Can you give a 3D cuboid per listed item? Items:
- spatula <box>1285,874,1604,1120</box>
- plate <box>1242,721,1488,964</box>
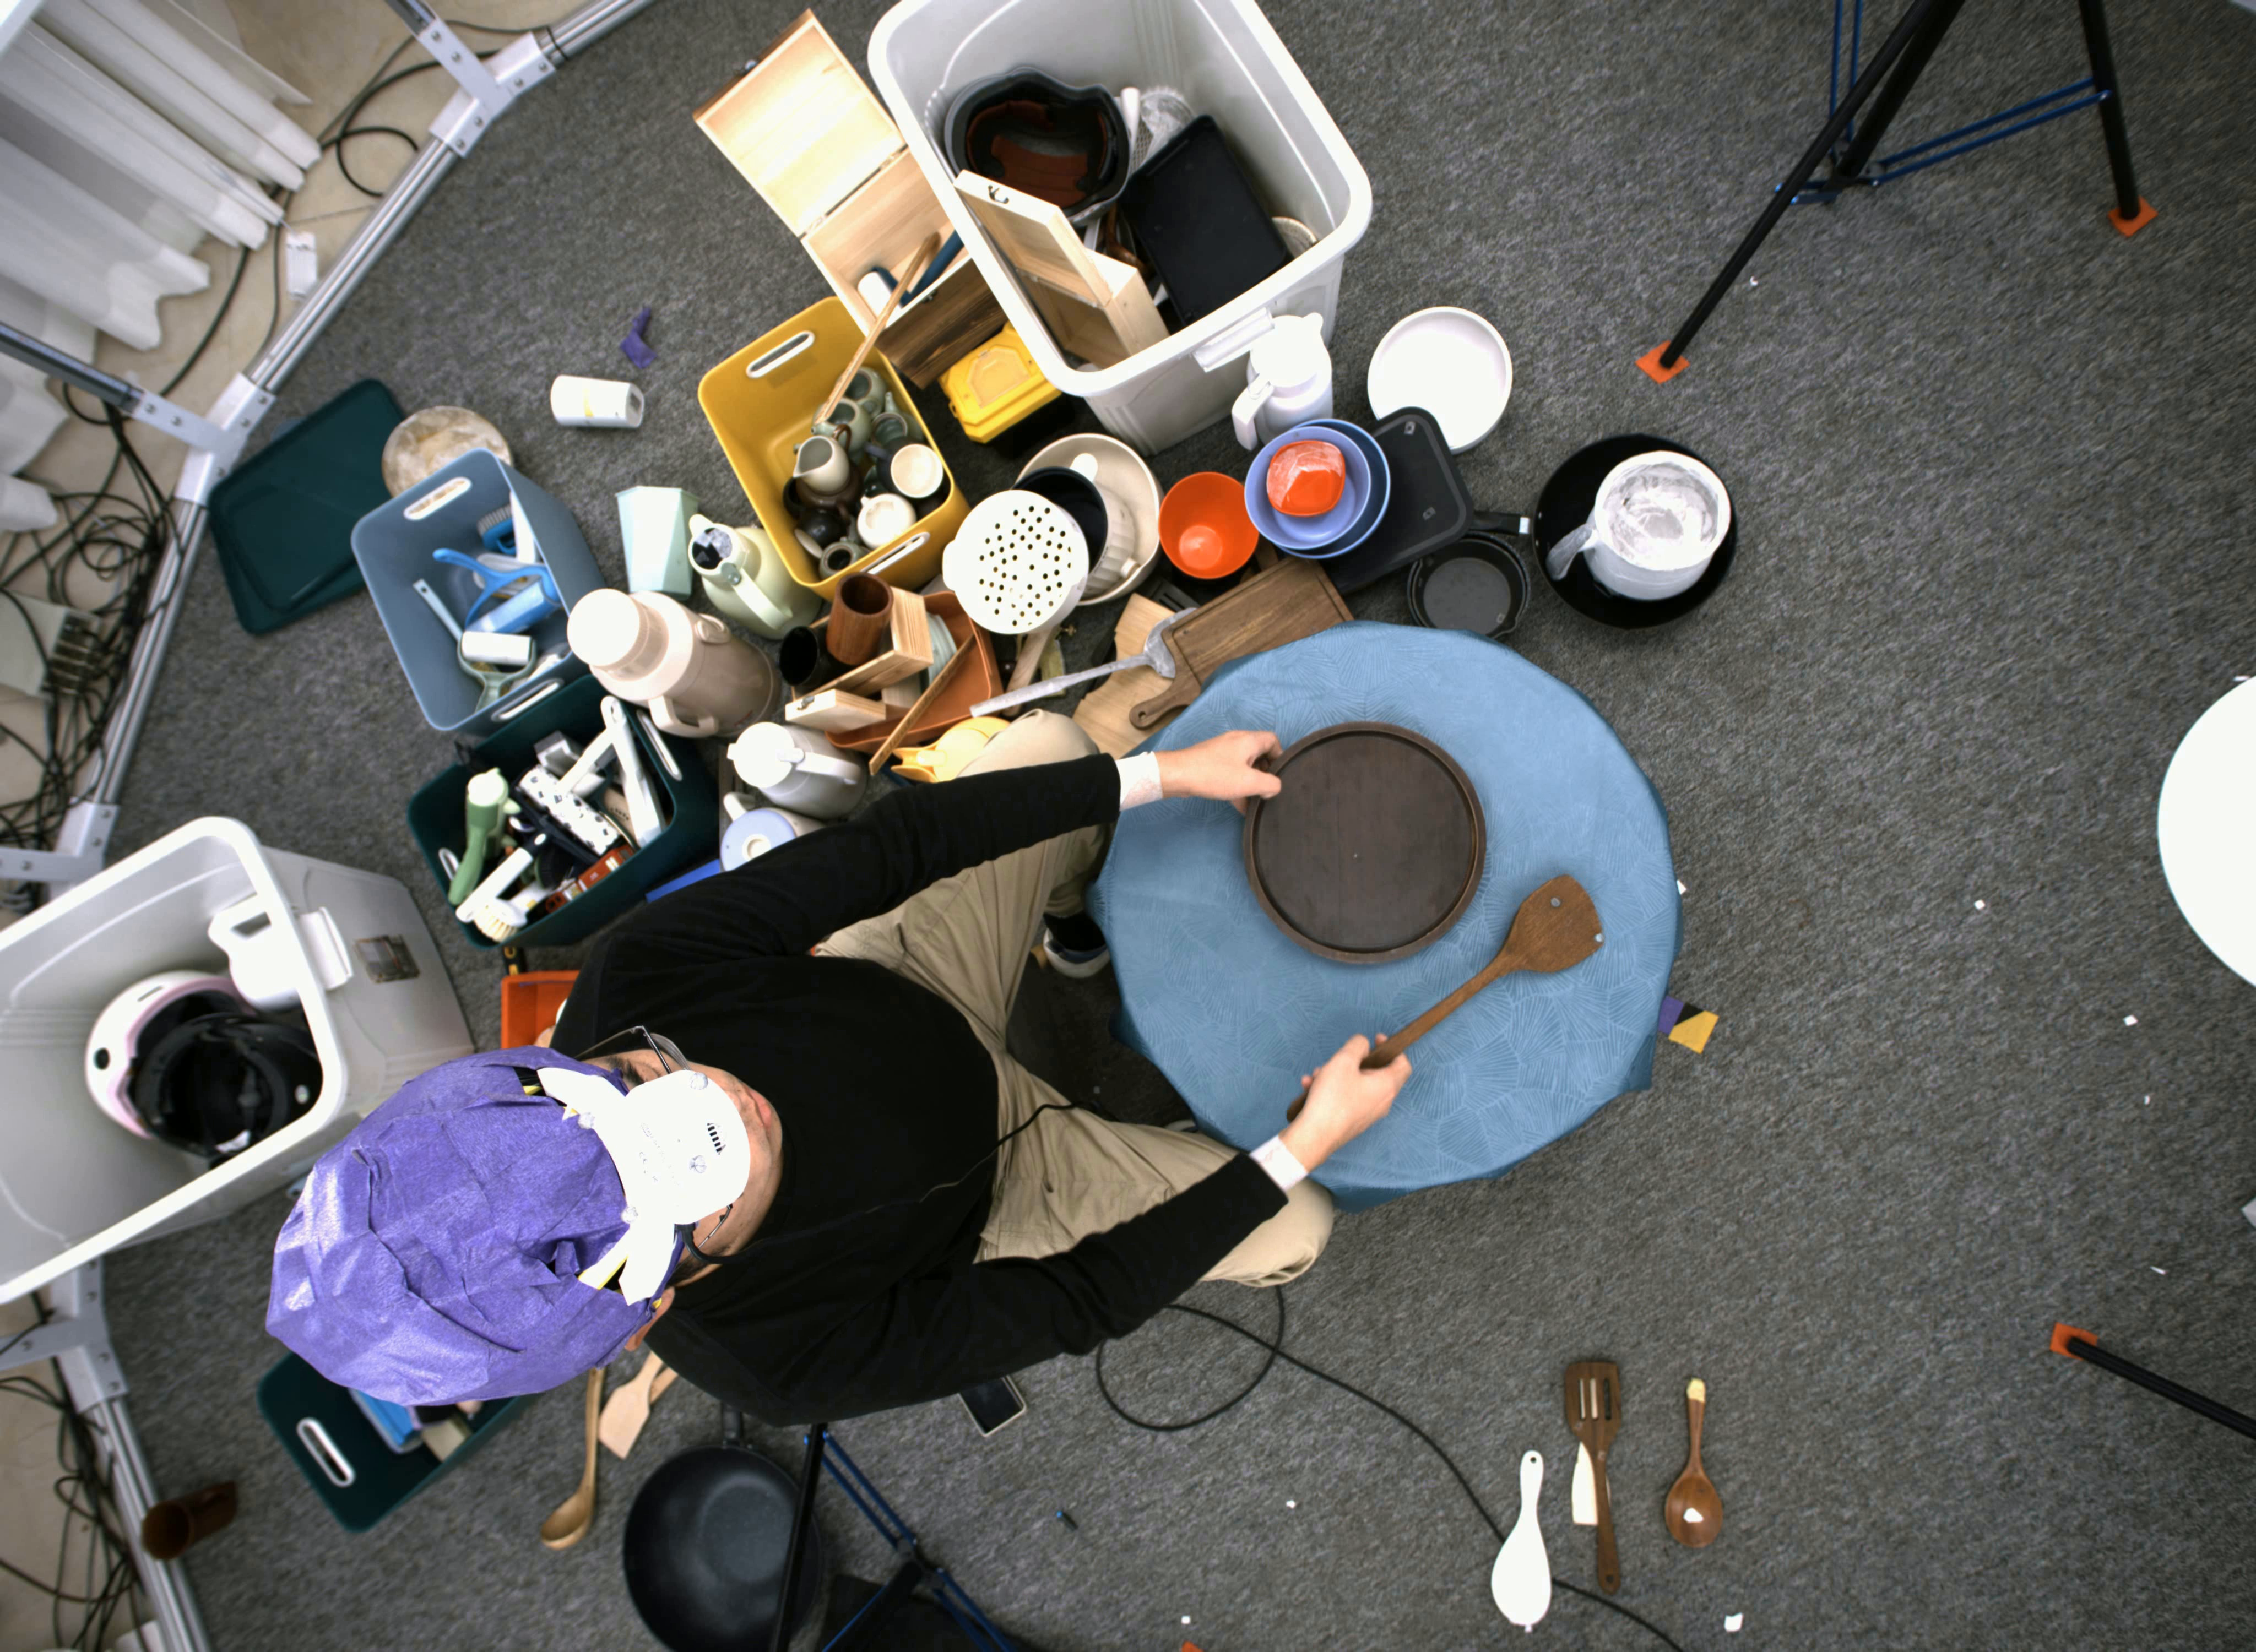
[{"bbox_3d":[0.318,0.180,1.388,0.384,0.016,0.097,-33,103,-7],"label":"spatula"},{"bbox_3d":[0.246,0.016,1.438,0.255,0.029,0.255,0,95,4],"label":"plate"}]
